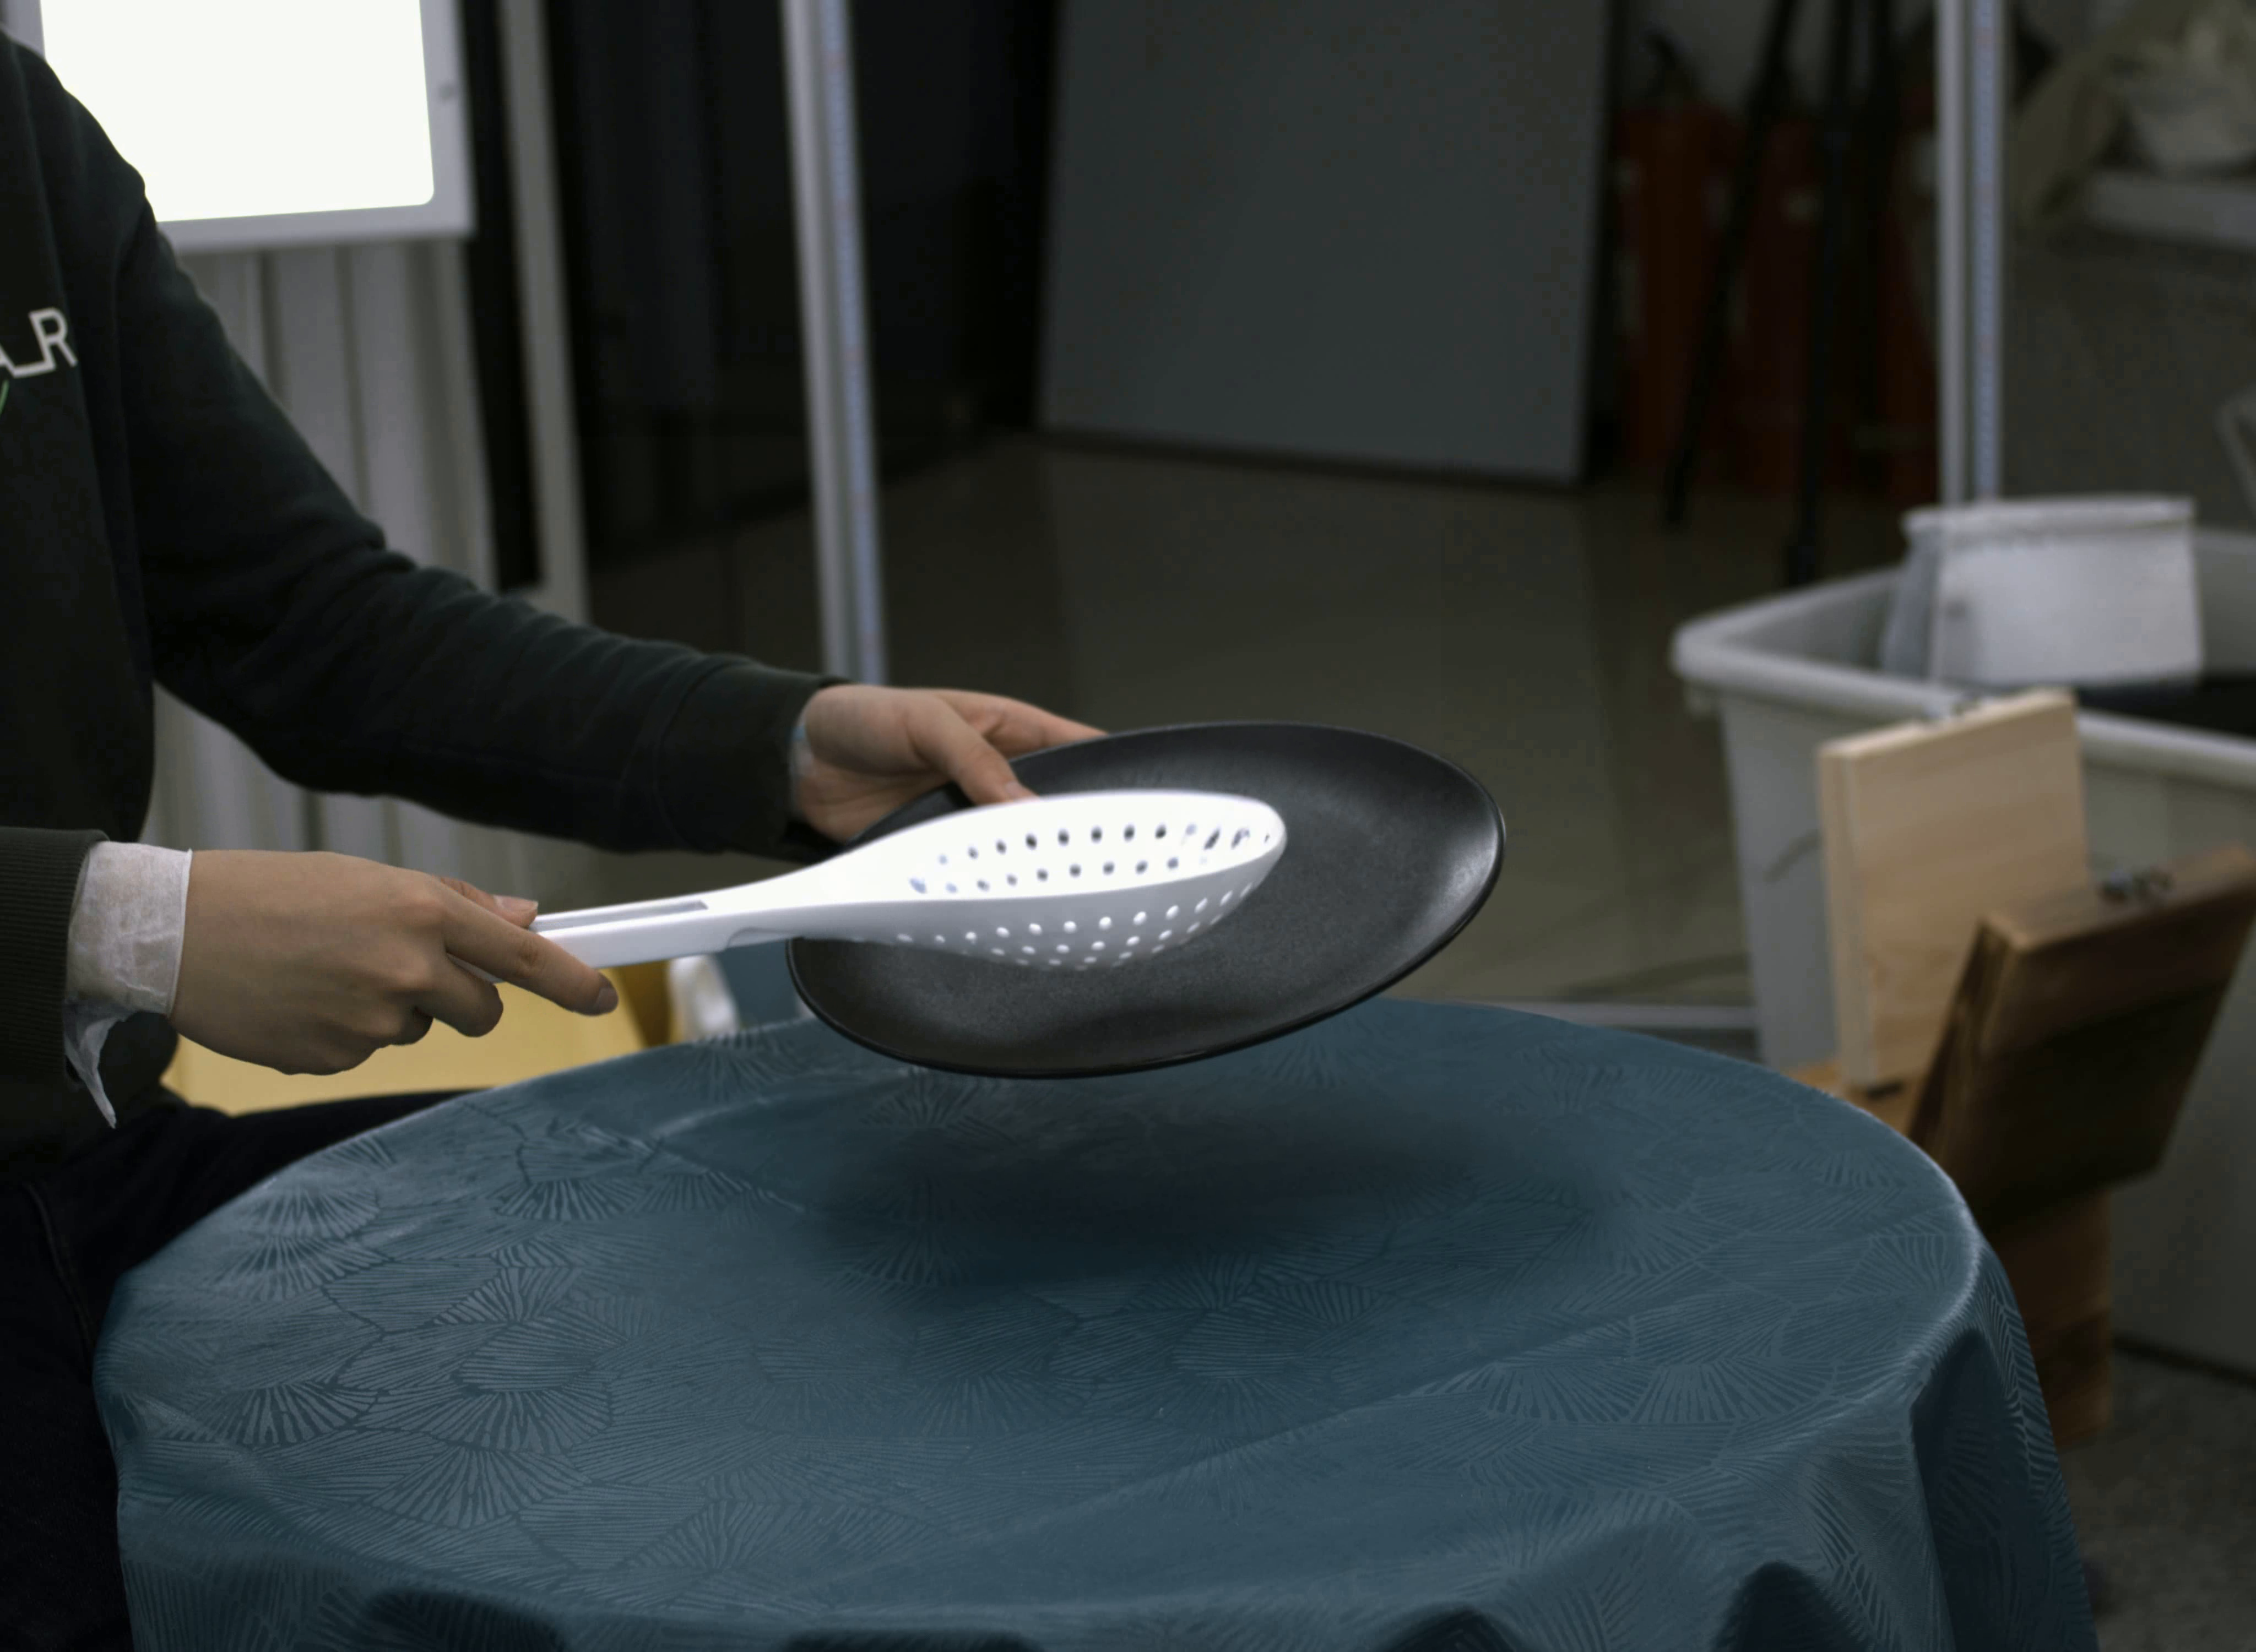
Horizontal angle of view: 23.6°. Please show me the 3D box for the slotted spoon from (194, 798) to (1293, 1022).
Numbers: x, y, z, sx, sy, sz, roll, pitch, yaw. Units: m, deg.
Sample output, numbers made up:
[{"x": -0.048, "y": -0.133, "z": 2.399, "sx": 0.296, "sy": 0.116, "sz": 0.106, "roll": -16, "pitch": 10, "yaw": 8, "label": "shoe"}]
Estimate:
[{"x": -0.115, "y": 0.027, "z": 1.679, "sx": 0.343, "sy": 0.046, "sz": 0.137, "roll": -3, "pitch": 9, "yaw": -15, "label": "slotted spoon"}]

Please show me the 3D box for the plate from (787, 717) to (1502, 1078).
[{"x": 0.007, "y": 0.028, "z": 1.785, "sx": 0.242, "sy": 0.023, "sz": 0.245, "roll": -10, "pitch": 26, "yaw": 4, "label": "plate"}]
